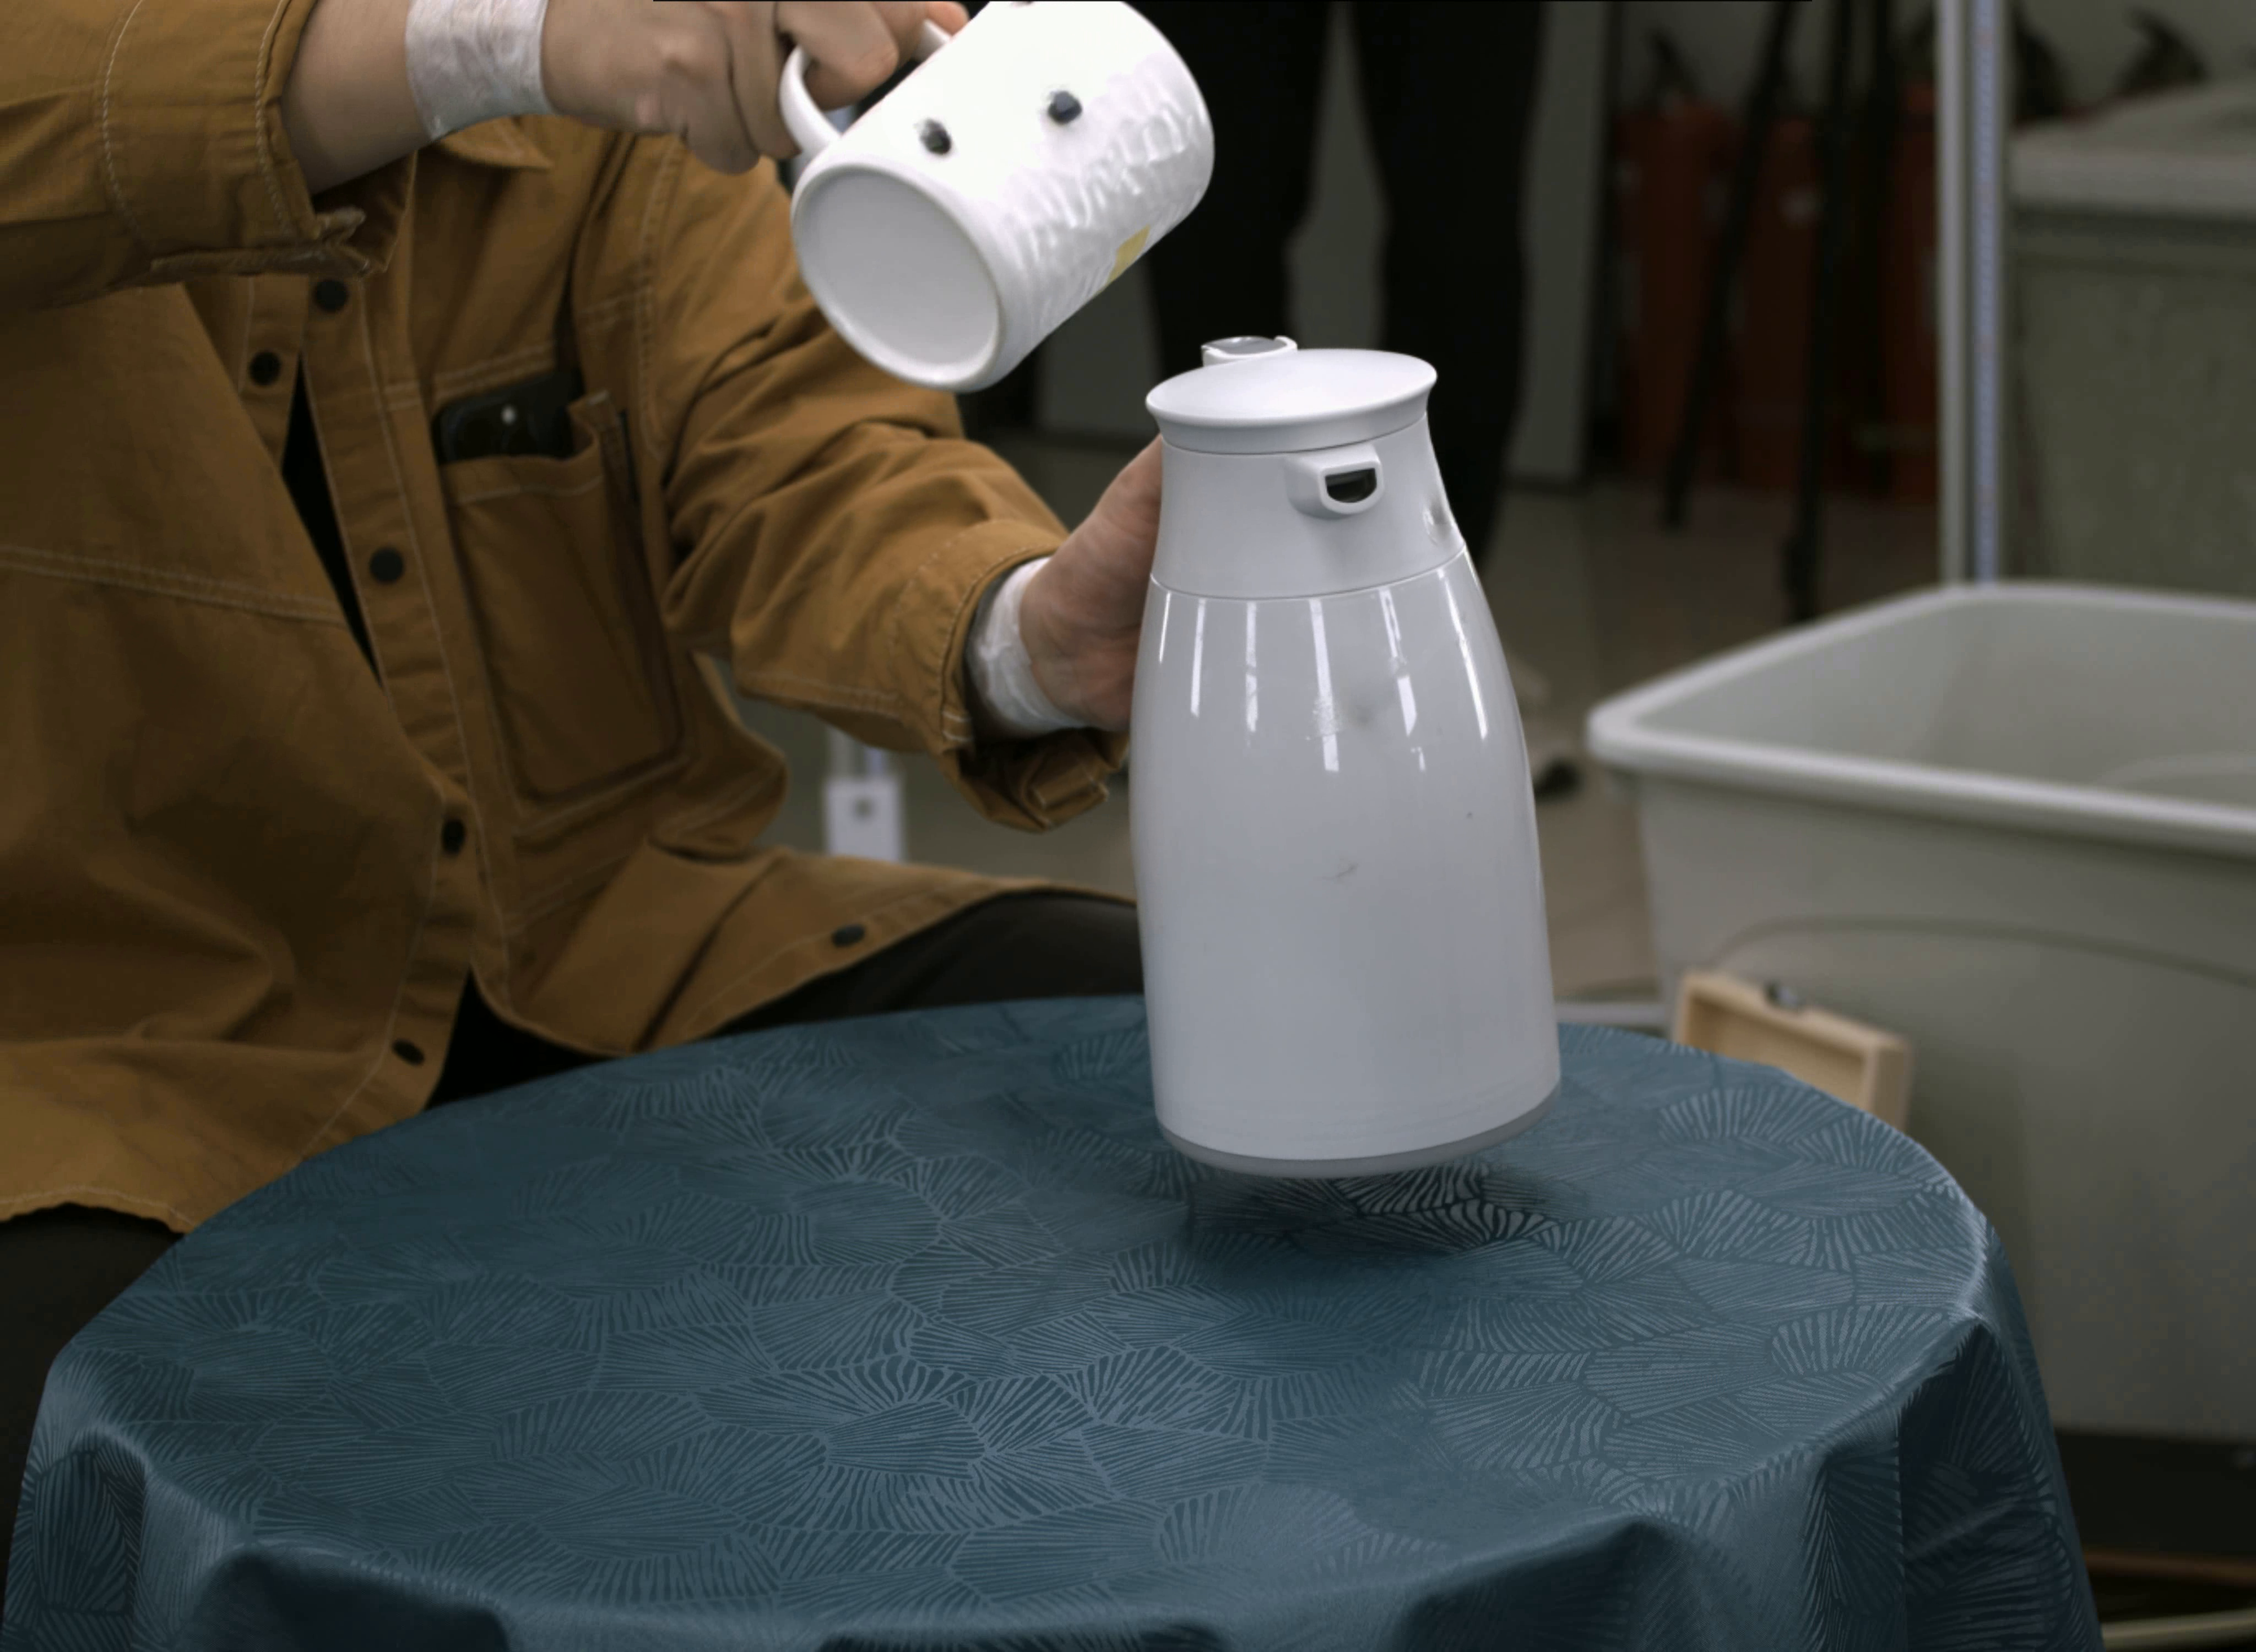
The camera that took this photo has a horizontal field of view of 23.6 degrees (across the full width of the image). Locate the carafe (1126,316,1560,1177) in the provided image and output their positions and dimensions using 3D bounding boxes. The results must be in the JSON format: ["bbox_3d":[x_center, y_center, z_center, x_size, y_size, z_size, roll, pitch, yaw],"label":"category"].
[{"bbox_3d":[0.054,-0.034,1.718,0.130,0.251,0.169,-11,16,-12],"label":"carafe"}]

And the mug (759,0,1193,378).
[{"bbox_3d":[-0.055,-0.200,1.572,0.118,0.085,0.101,36,53,11],"label":"mug"}]
